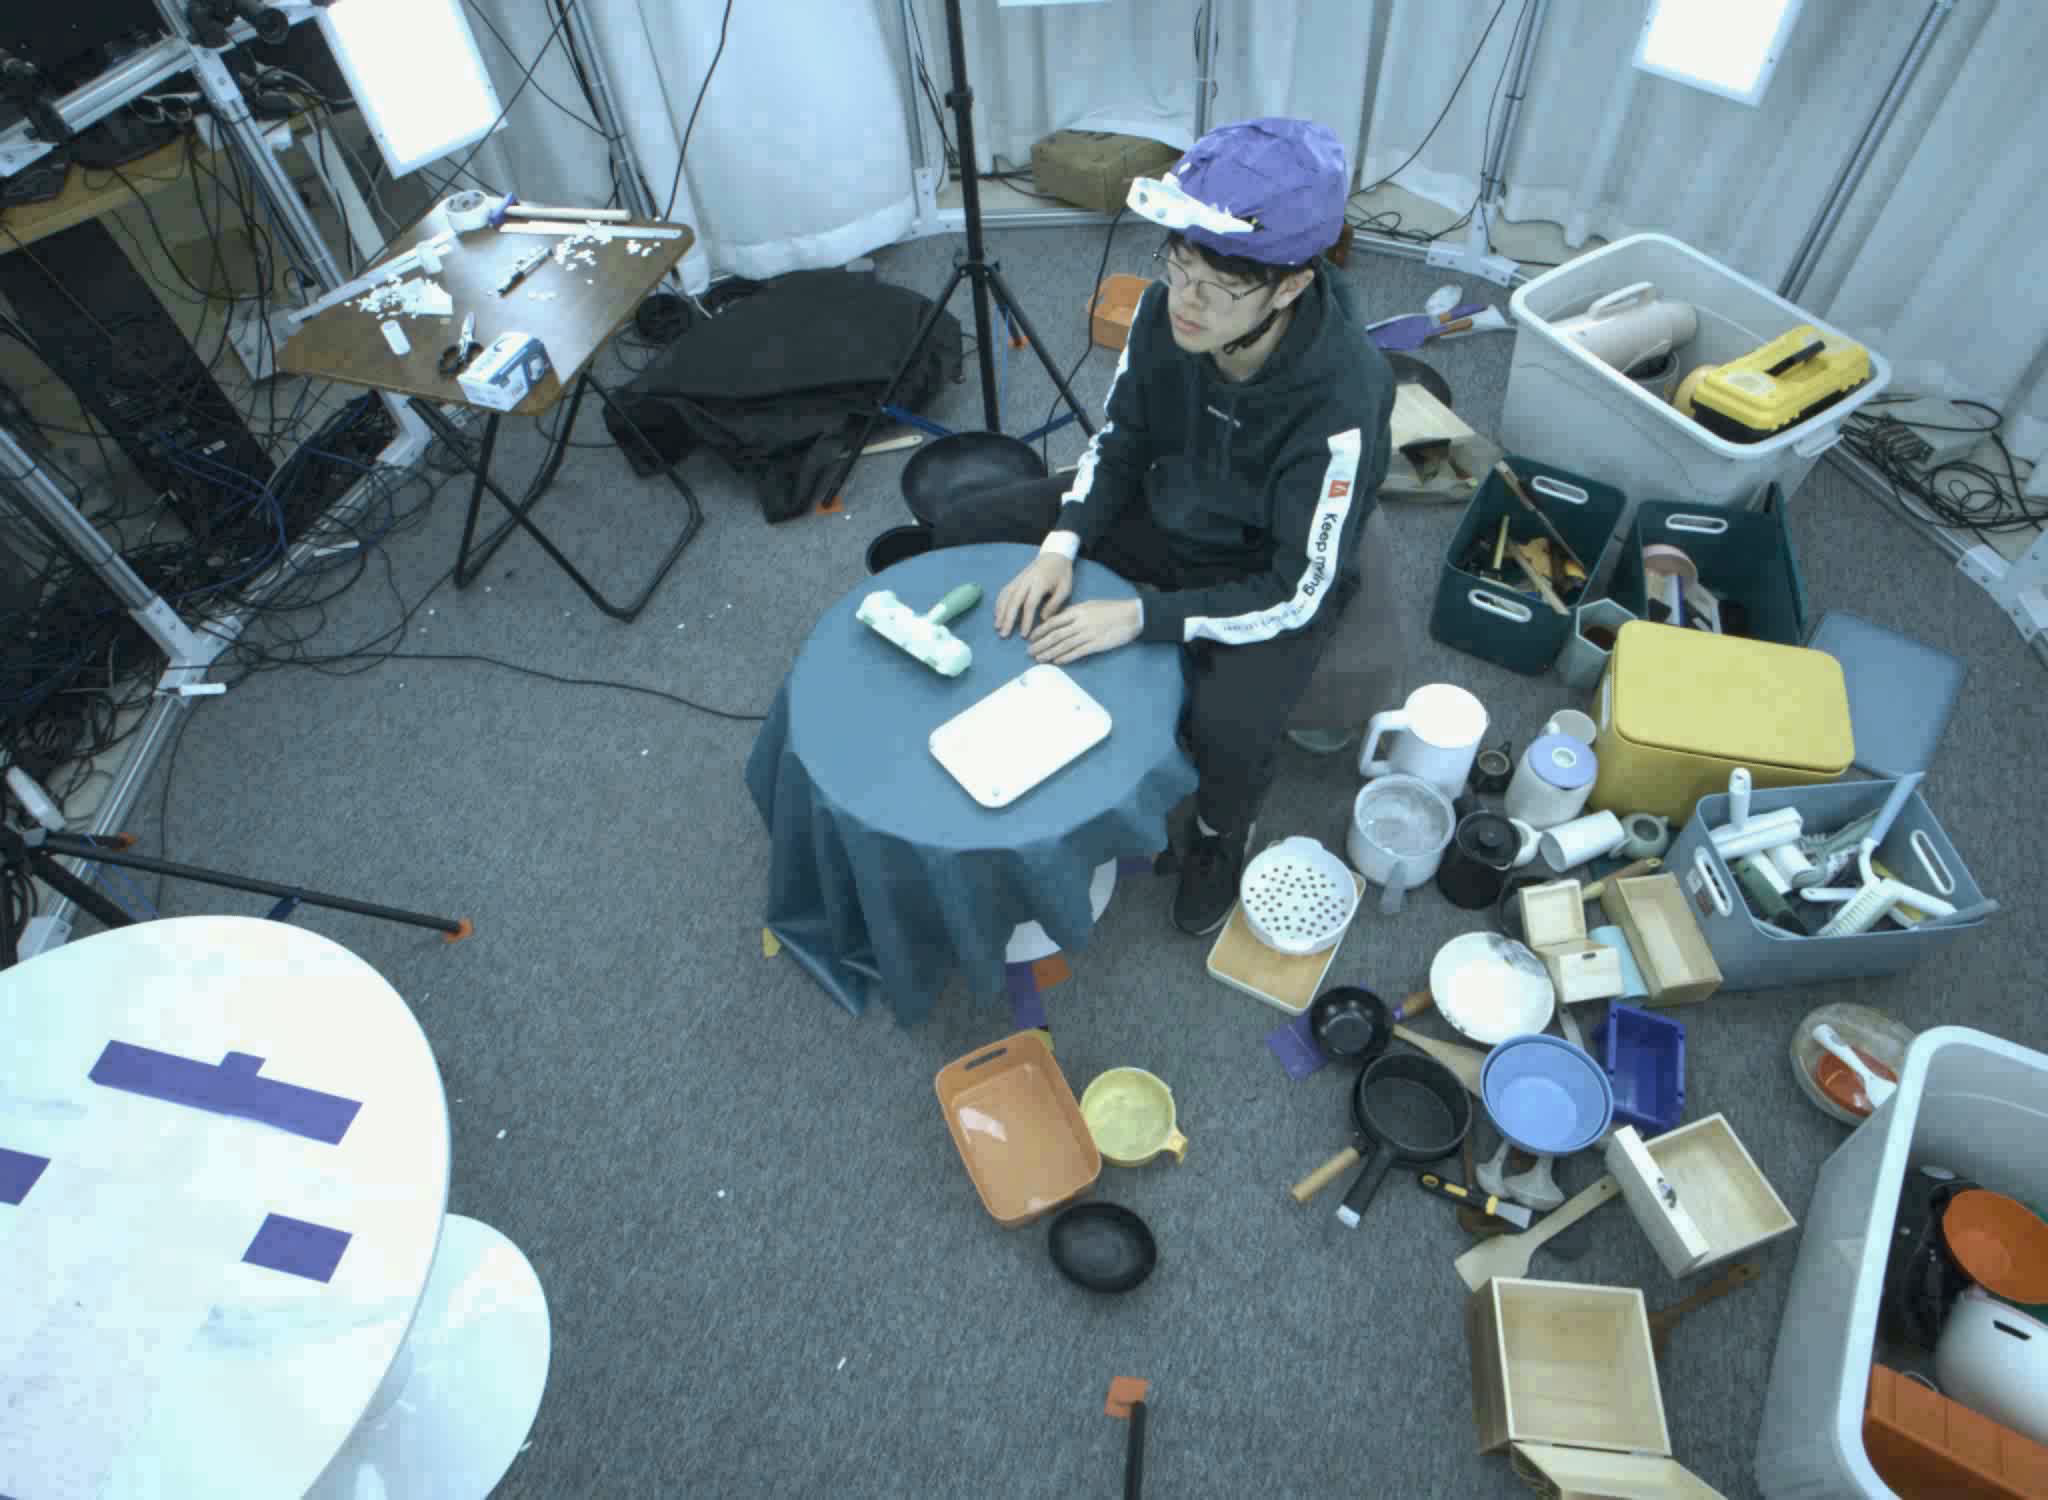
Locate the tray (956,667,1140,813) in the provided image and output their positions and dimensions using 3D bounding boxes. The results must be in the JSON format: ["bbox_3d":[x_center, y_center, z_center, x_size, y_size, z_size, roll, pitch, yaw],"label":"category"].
[{"bbox_3d":[0.035,-0.016,1.782,0.241,0.017,0.168,-33,61,-19],"label":"tray"}]

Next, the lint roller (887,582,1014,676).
[{"bbox_3d":[-0.084,-0.220,1.894,0.195,0.083,0.184,36,68,24],"label":"lint roller"}]
